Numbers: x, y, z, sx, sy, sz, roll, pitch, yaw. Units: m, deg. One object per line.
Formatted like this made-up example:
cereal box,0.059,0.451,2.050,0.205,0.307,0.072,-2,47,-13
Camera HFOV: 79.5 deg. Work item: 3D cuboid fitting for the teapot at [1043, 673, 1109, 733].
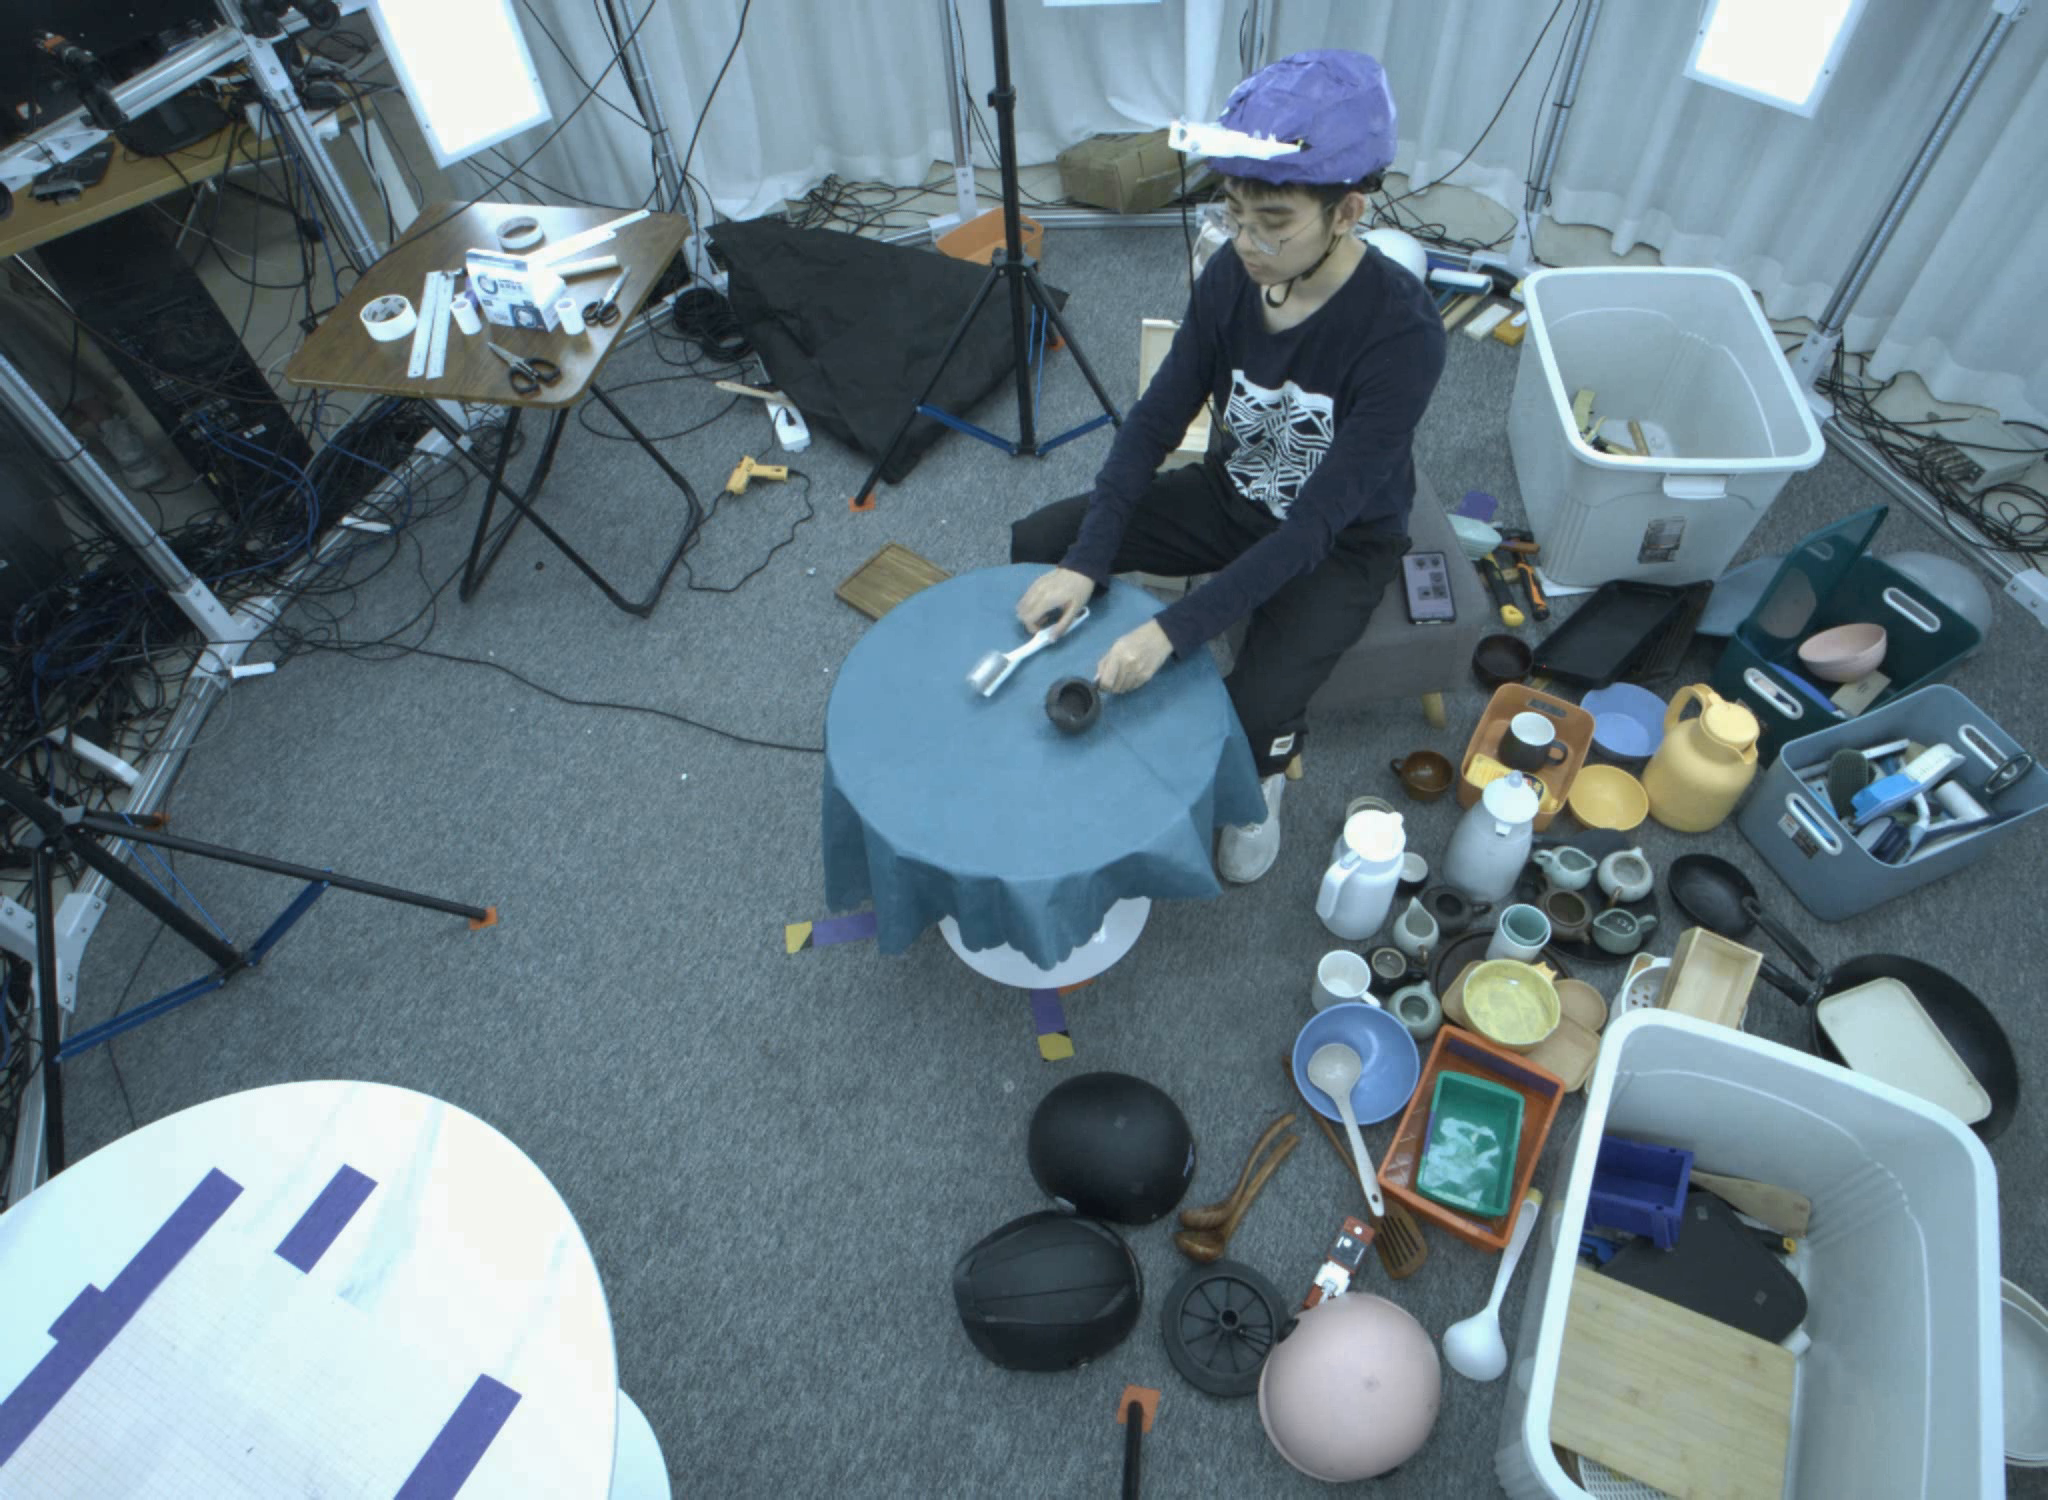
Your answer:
teapot,0.079,-0.074,1.782,0.114,0.053,0.083,-38,87,-12

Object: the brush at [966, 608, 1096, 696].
brush,0.014,-0.162,1.865,0.245,0.051,0.033,-36,55,-21
